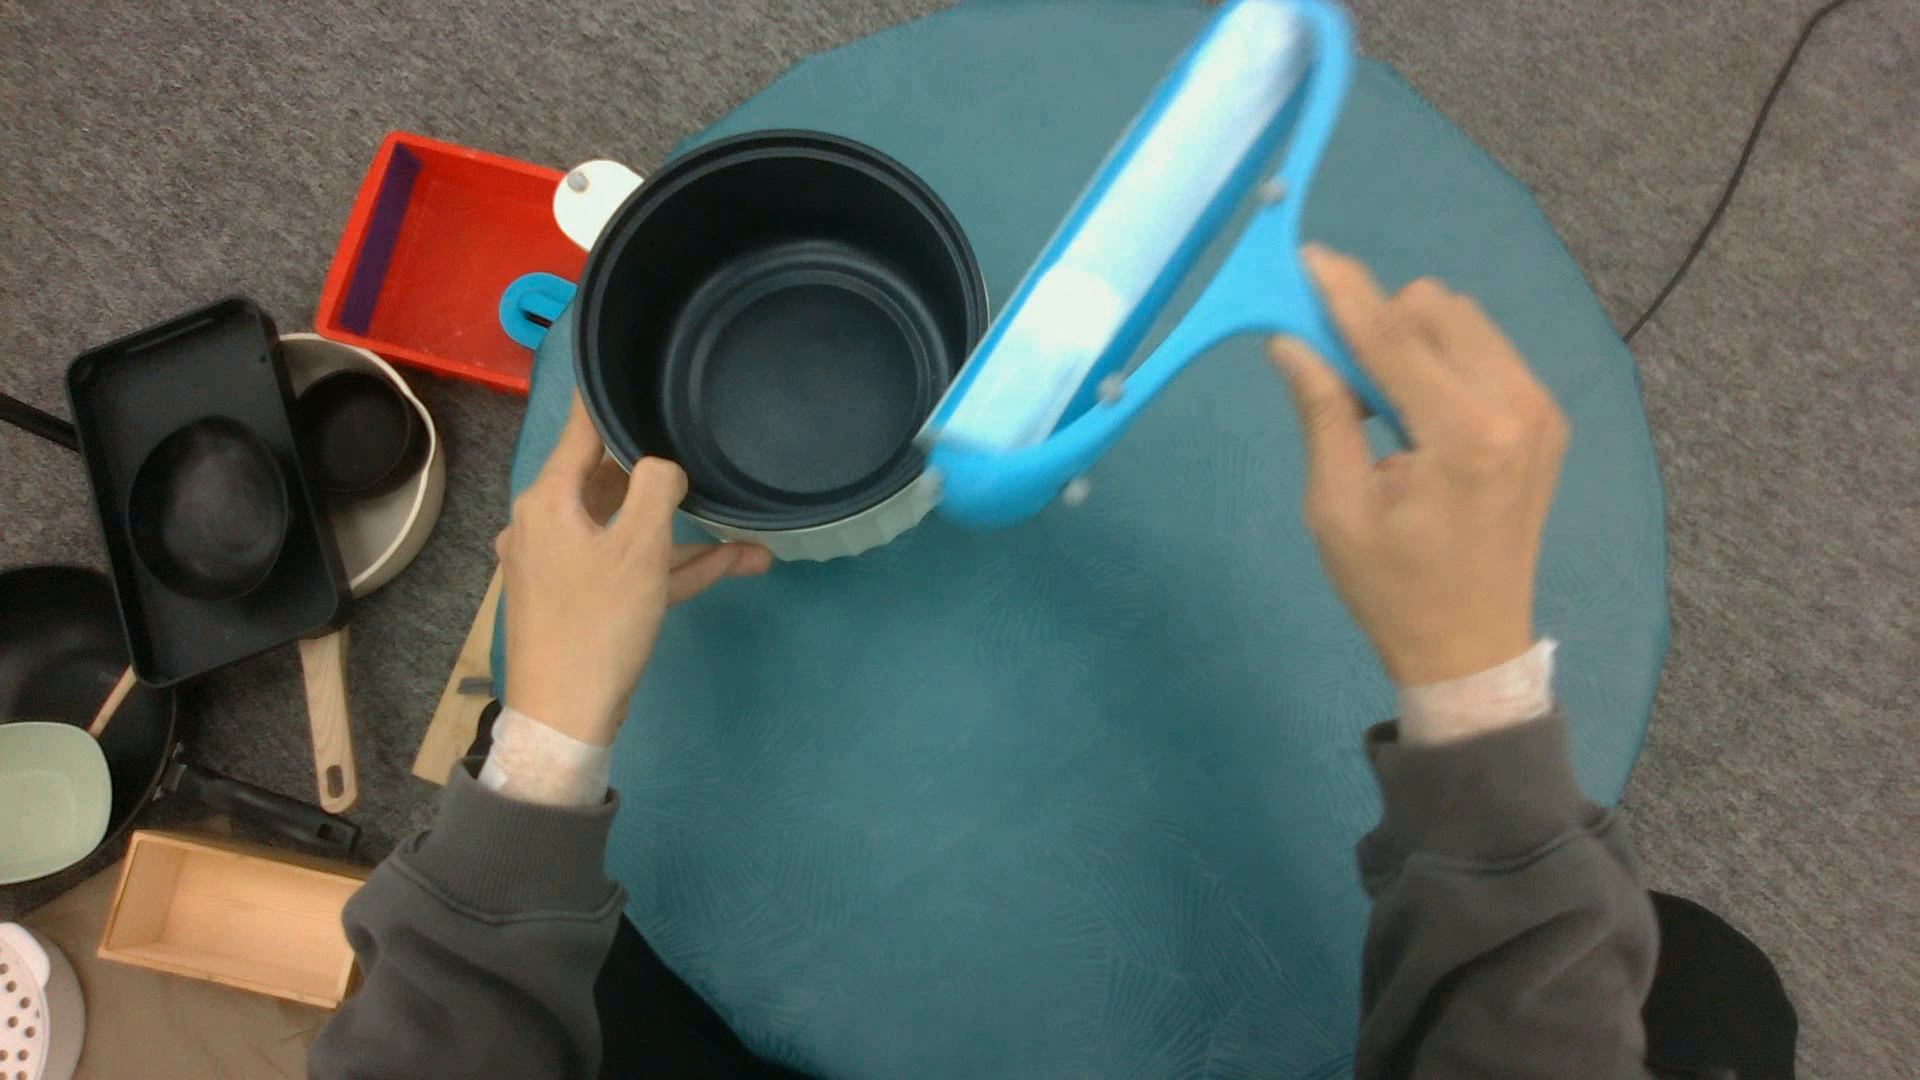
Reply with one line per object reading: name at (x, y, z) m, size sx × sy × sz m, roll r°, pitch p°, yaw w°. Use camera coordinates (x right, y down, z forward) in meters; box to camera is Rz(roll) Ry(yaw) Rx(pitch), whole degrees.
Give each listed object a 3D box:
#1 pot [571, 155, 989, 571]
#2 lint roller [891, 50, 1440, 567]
pot at (-0.070, -0.081, 0.678) m, size 0.240 × 0.142 × 0.190 m, roll 34°, pitch 85°, yaw 7°
lint roller at (0.094, -0.069, 0.512) m, size 0.180 × 0.068 × 0.229 m, roll 24°, pitch 78°, yaw 19°
